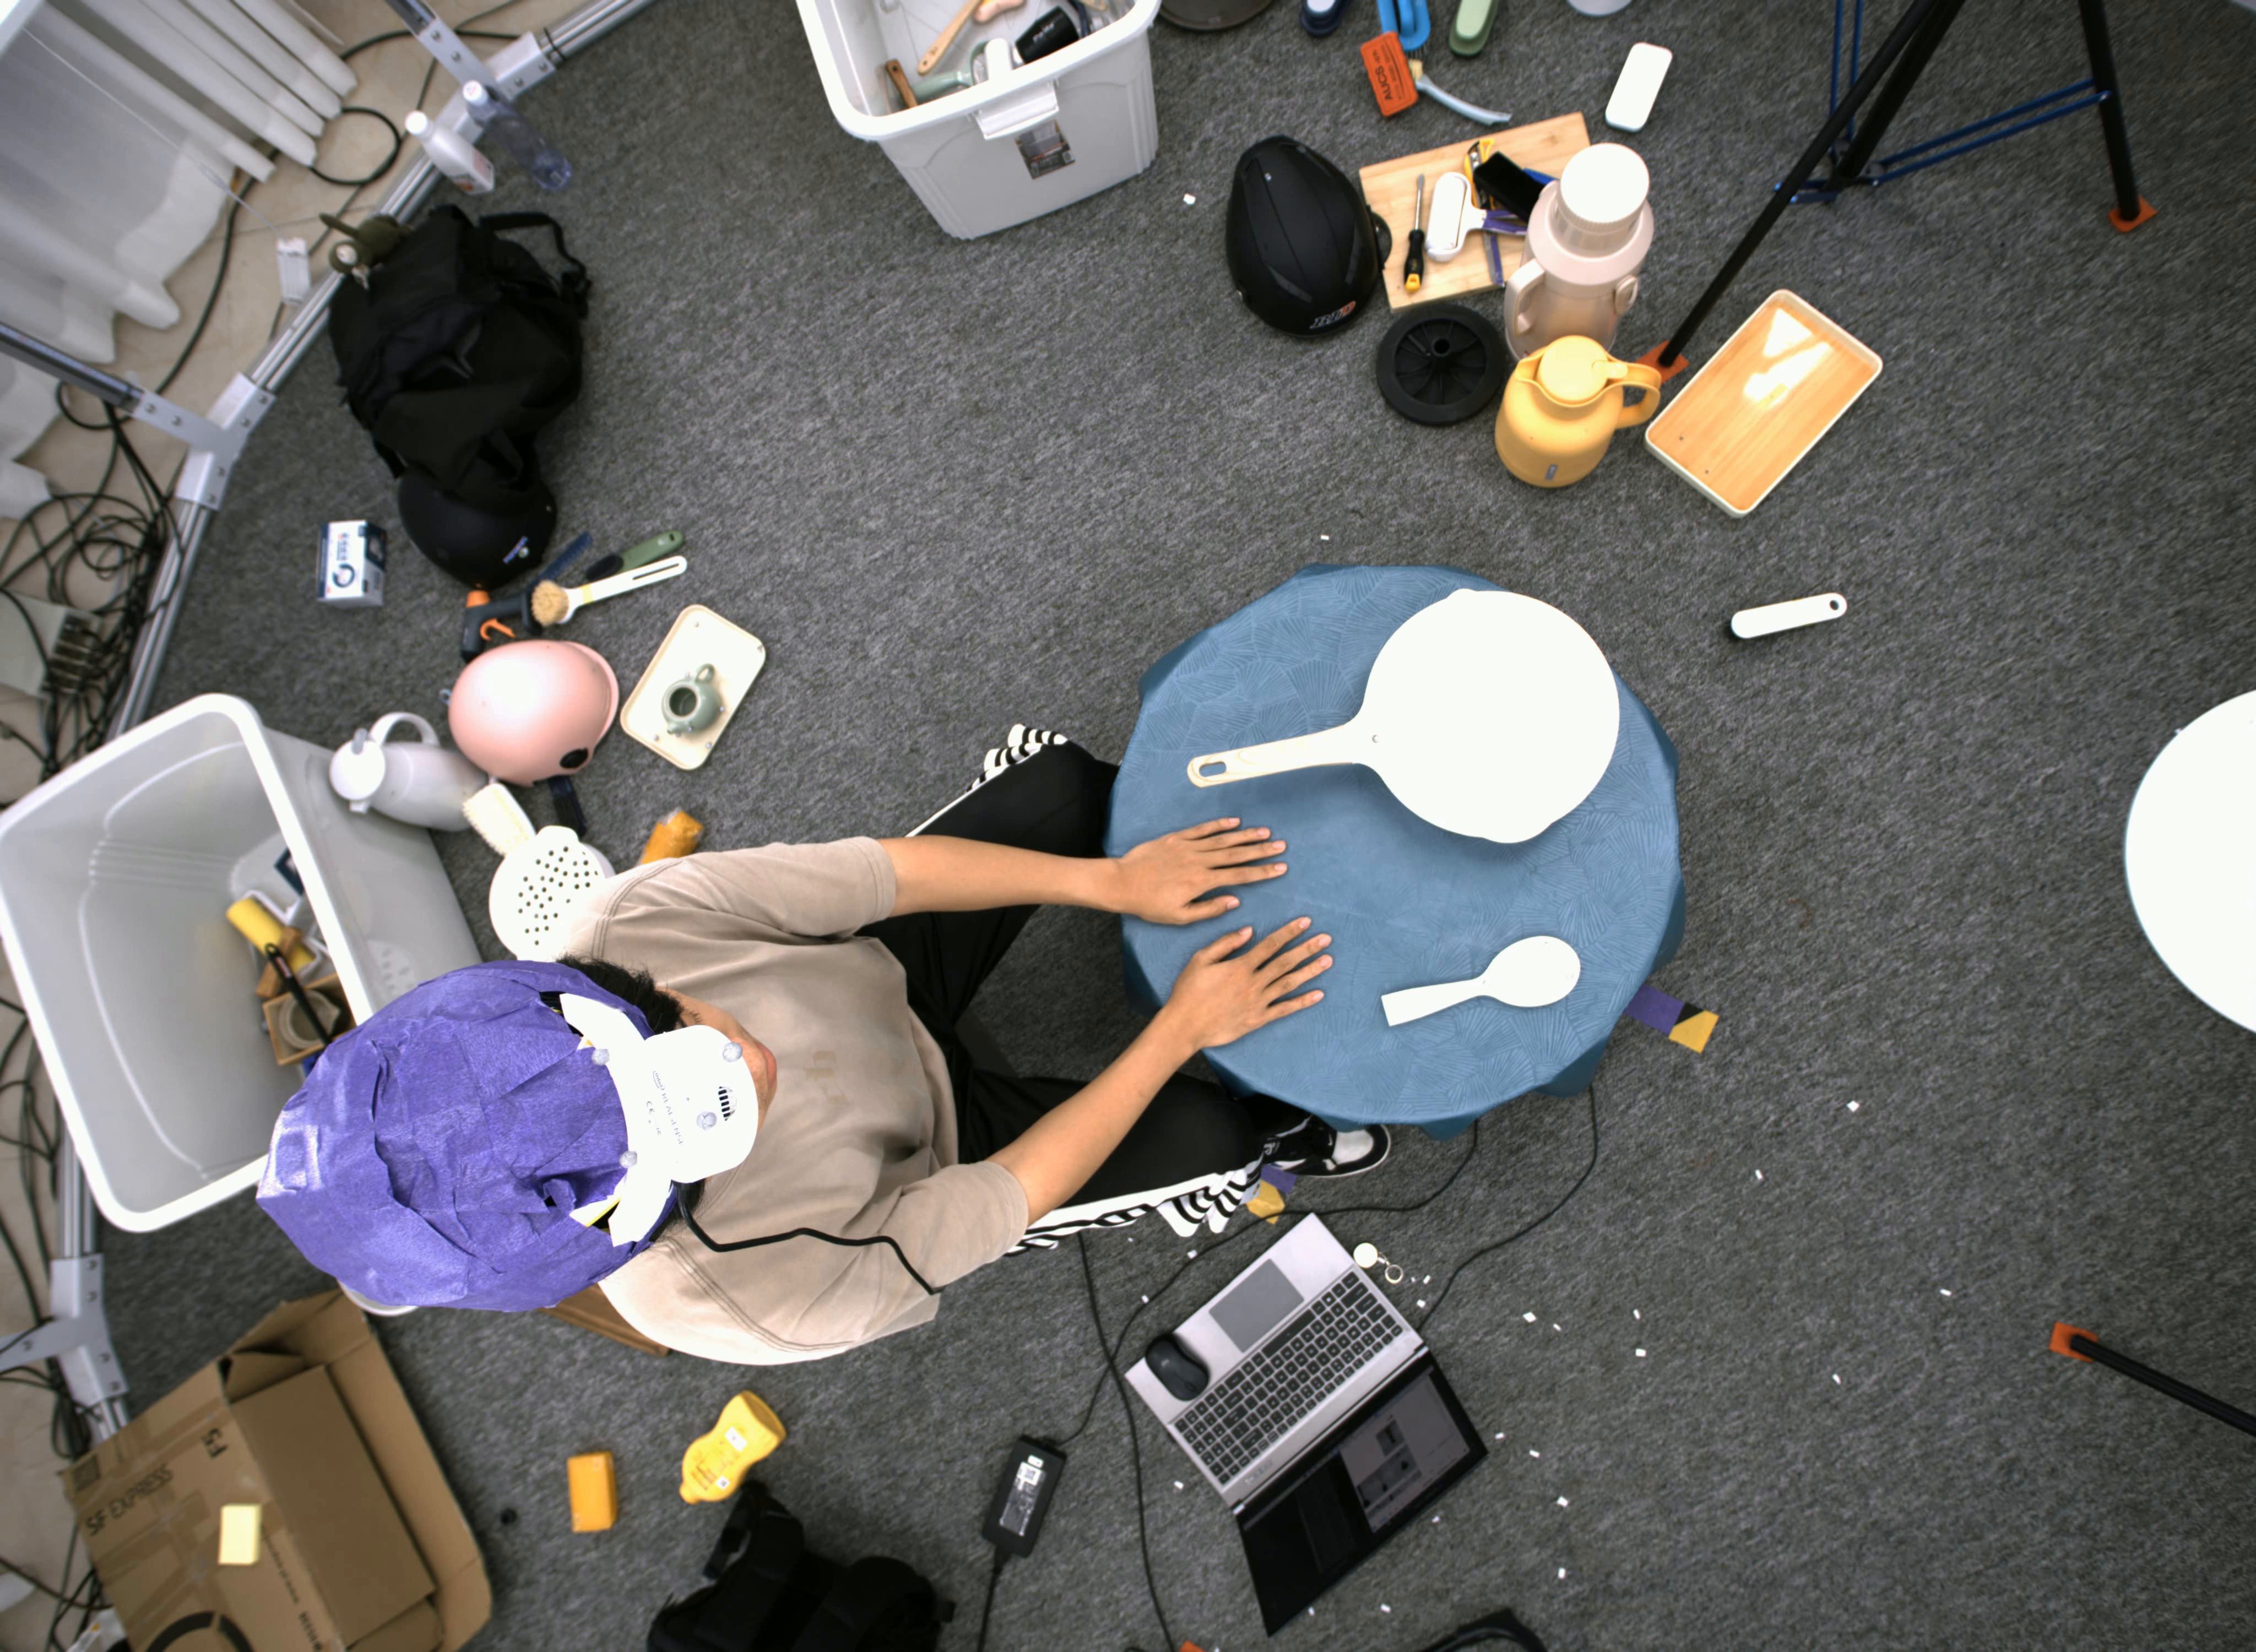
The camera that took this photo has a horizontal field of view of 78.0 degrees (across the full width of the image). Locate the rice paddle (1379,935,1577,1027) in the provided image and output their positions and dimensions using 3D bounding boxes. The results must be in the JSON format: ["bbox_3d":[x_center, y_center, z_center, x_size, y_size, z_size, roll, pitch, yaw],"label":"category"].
[{"bbox_3d":[0.362,0.162,1.422,0.206,0.029,0.068,-17,85,9],"label":"rice paddle"}]

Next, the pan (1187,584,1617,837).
[{"bbox_3d":[0.278,-0.097,1.422,0.437,0.102,0.262,-13,86,10],"label":"pan"}]
